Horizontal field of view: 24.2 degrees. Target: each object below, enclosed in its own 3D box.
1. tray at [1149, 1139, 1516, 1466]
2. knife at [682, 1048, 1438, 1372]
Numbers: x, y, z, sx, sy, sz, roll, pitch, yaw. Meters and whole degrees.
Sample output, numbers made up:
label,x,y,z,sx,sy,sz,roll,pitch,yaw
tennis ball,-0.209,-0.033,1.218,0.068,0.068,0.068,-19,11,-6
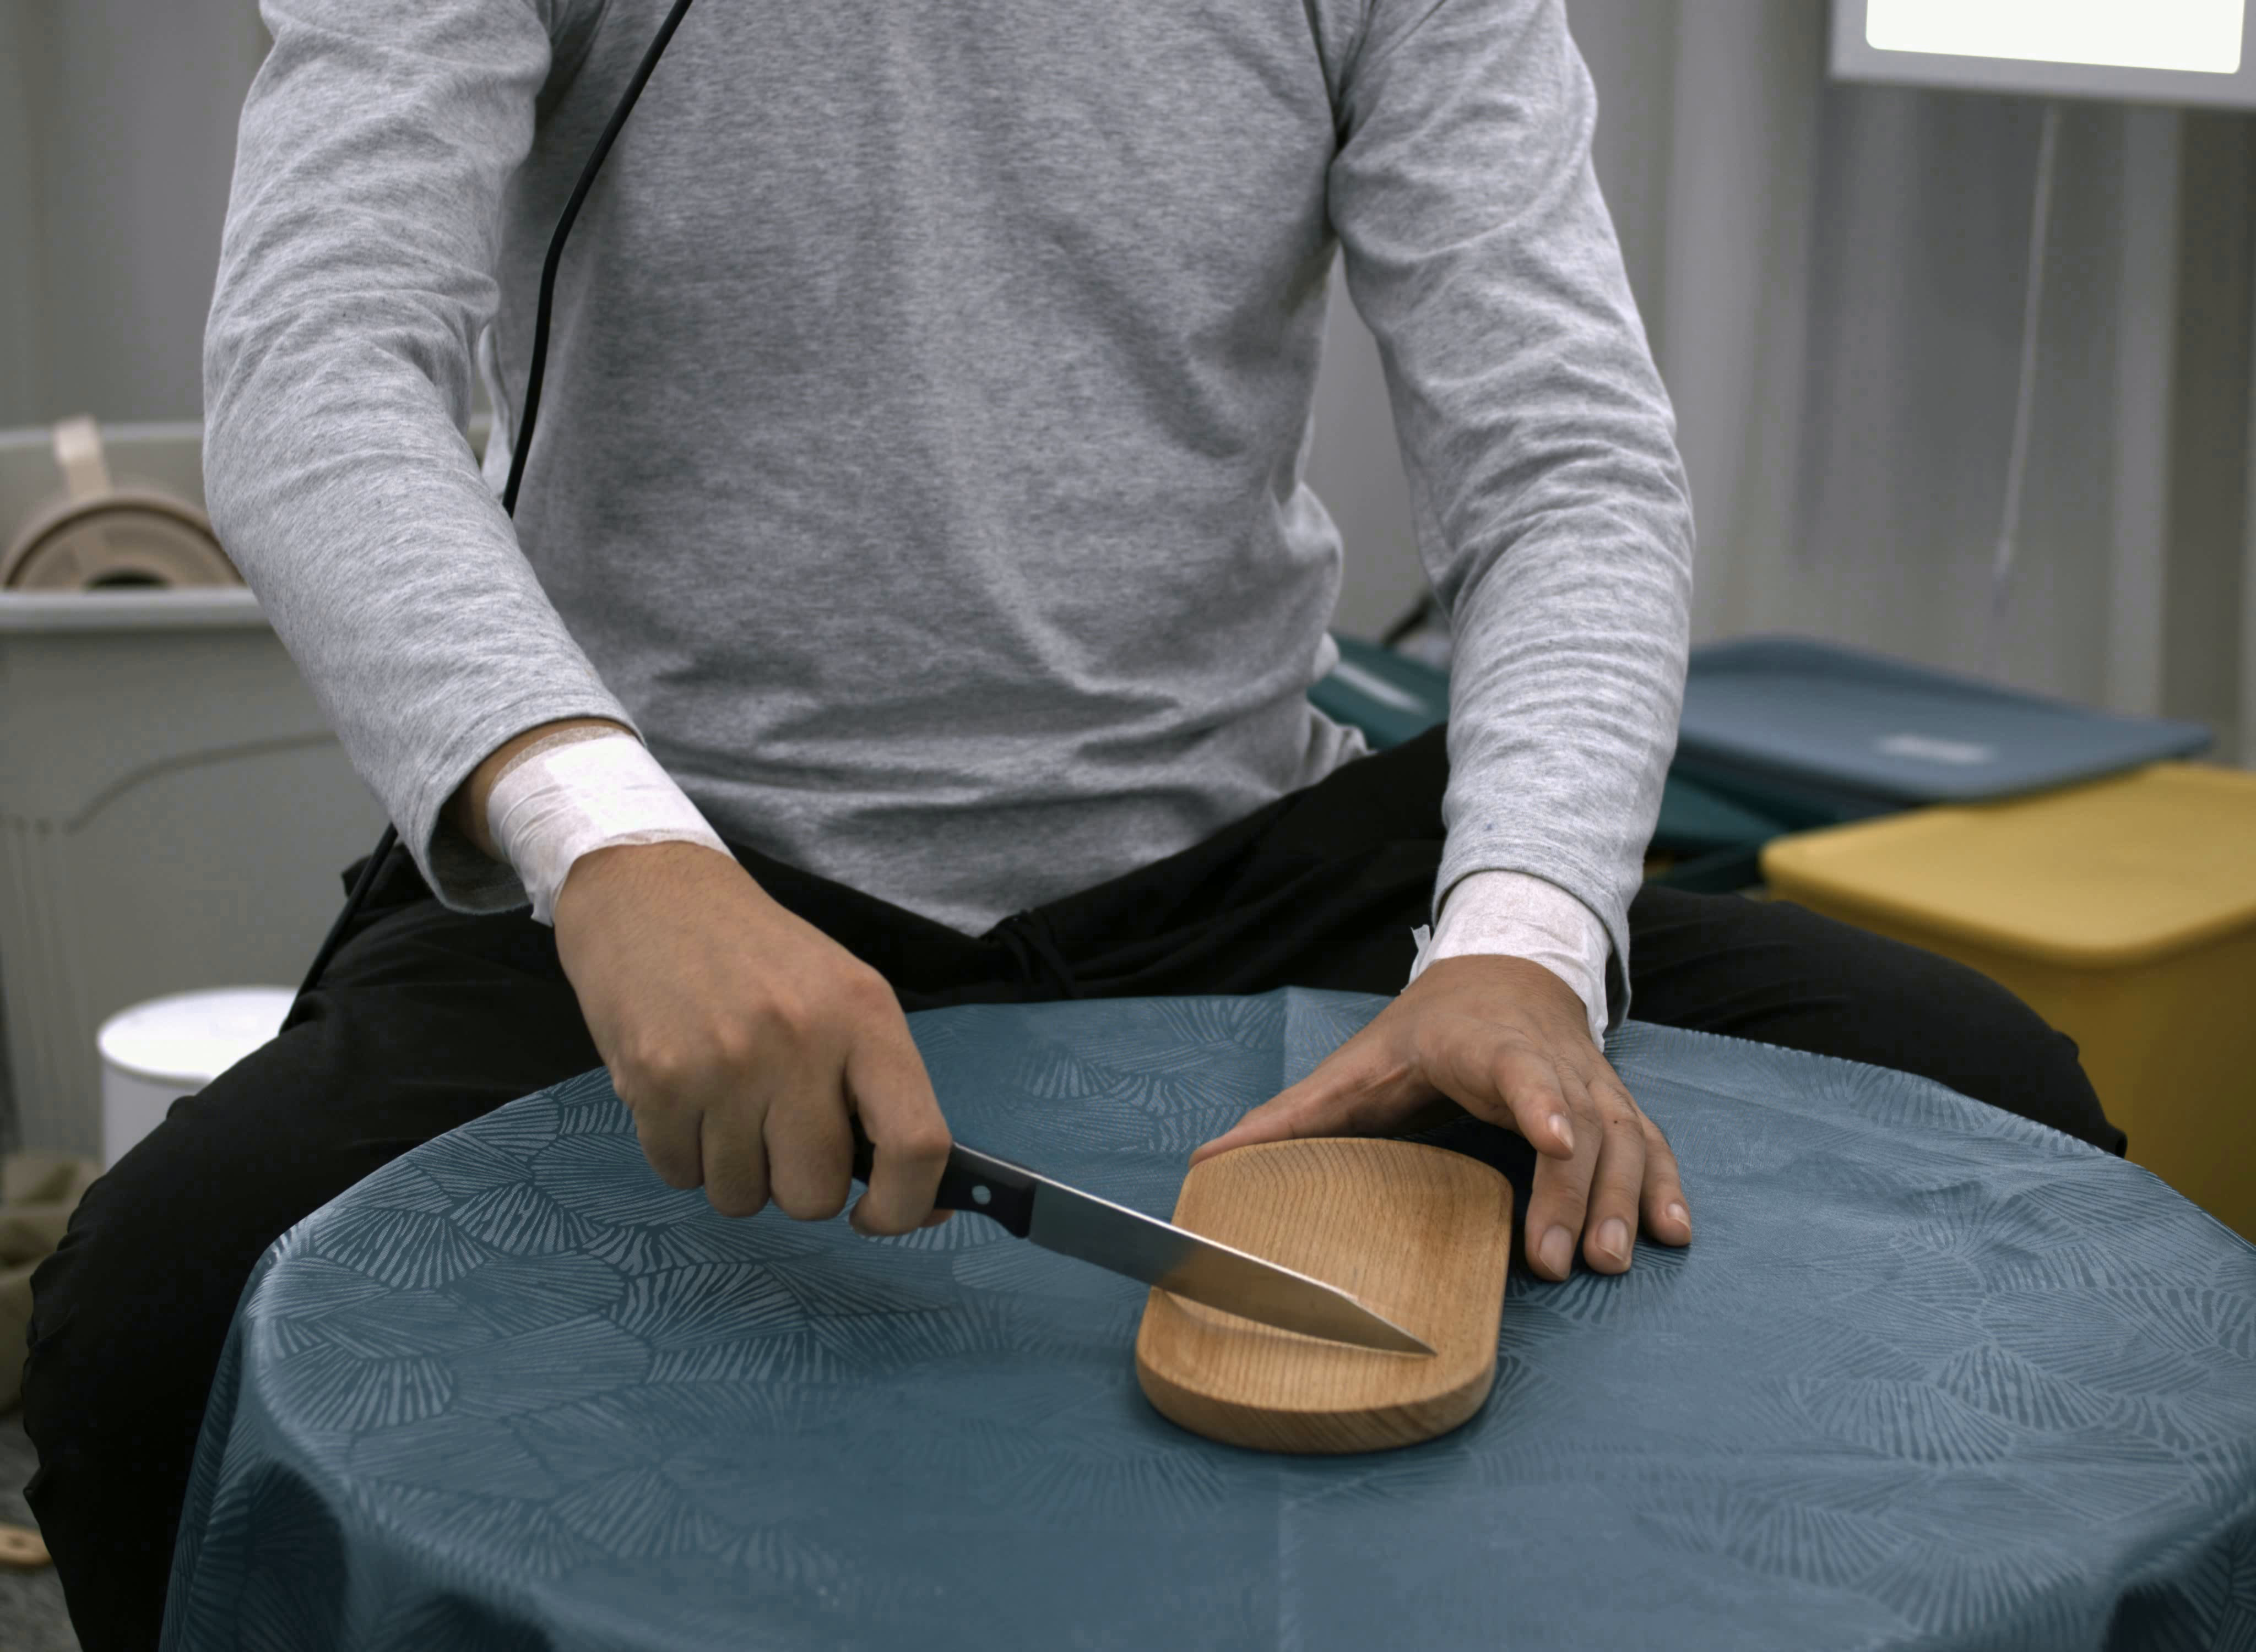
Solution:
label,x,y,z,sx,sy,sz,roll,pitch,yaw
tray,0.061,0.135,1.519,0.101,0.020,0.230,0,17,4
knife,-0.020,0.109,1.499,0.236,0.024,0.016,20,27,14
